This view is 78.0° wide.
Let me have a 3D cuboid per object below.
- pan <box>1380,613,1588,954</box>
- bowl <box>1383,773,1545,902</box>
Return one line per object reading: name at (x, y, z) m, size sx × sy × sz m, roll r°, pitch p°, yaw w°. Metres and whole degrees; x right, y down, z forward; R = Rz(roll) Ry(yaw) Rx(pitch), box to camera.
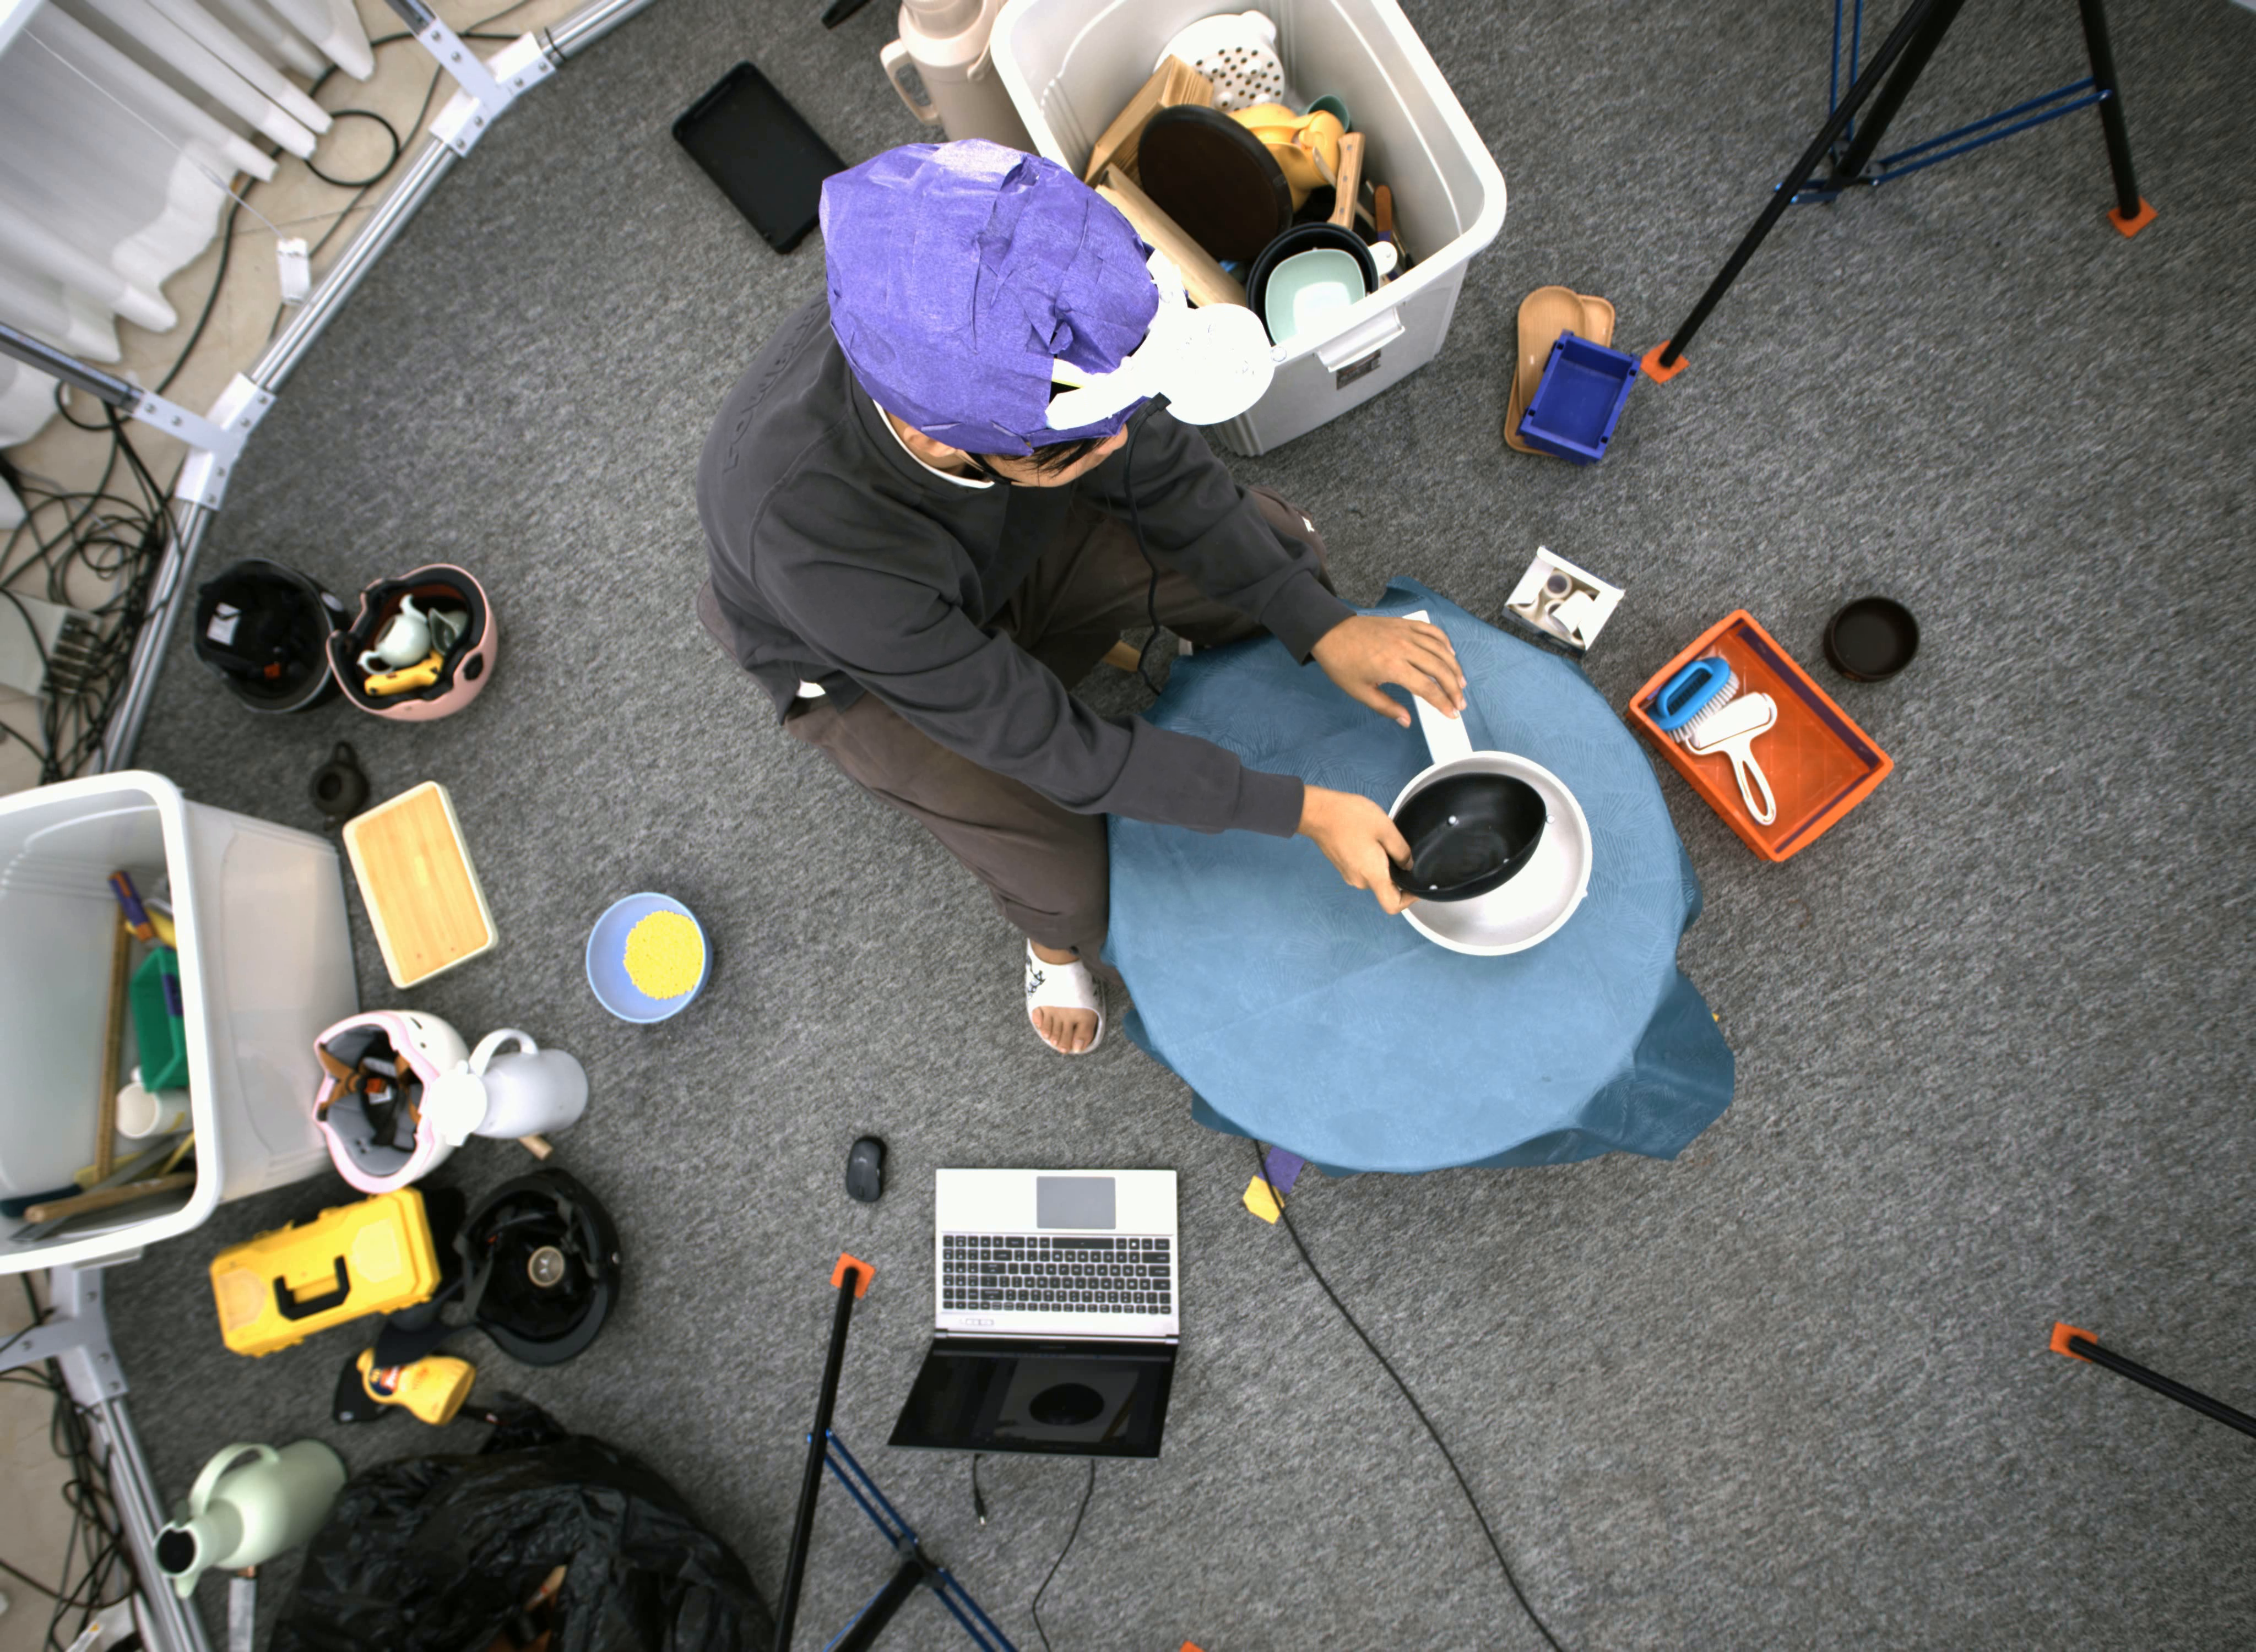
pan at (0.340, -0.042, 1.412) m, size 0.203 × 0.102 × 0.351 m, roll -18°, pitch 80°, yaw 12°
bowl at (0.325, 0.021, 1.320) m, size 0.168 × 0.068 × 0.136 m, roll -38°, pitch 42°, yaw -18°
